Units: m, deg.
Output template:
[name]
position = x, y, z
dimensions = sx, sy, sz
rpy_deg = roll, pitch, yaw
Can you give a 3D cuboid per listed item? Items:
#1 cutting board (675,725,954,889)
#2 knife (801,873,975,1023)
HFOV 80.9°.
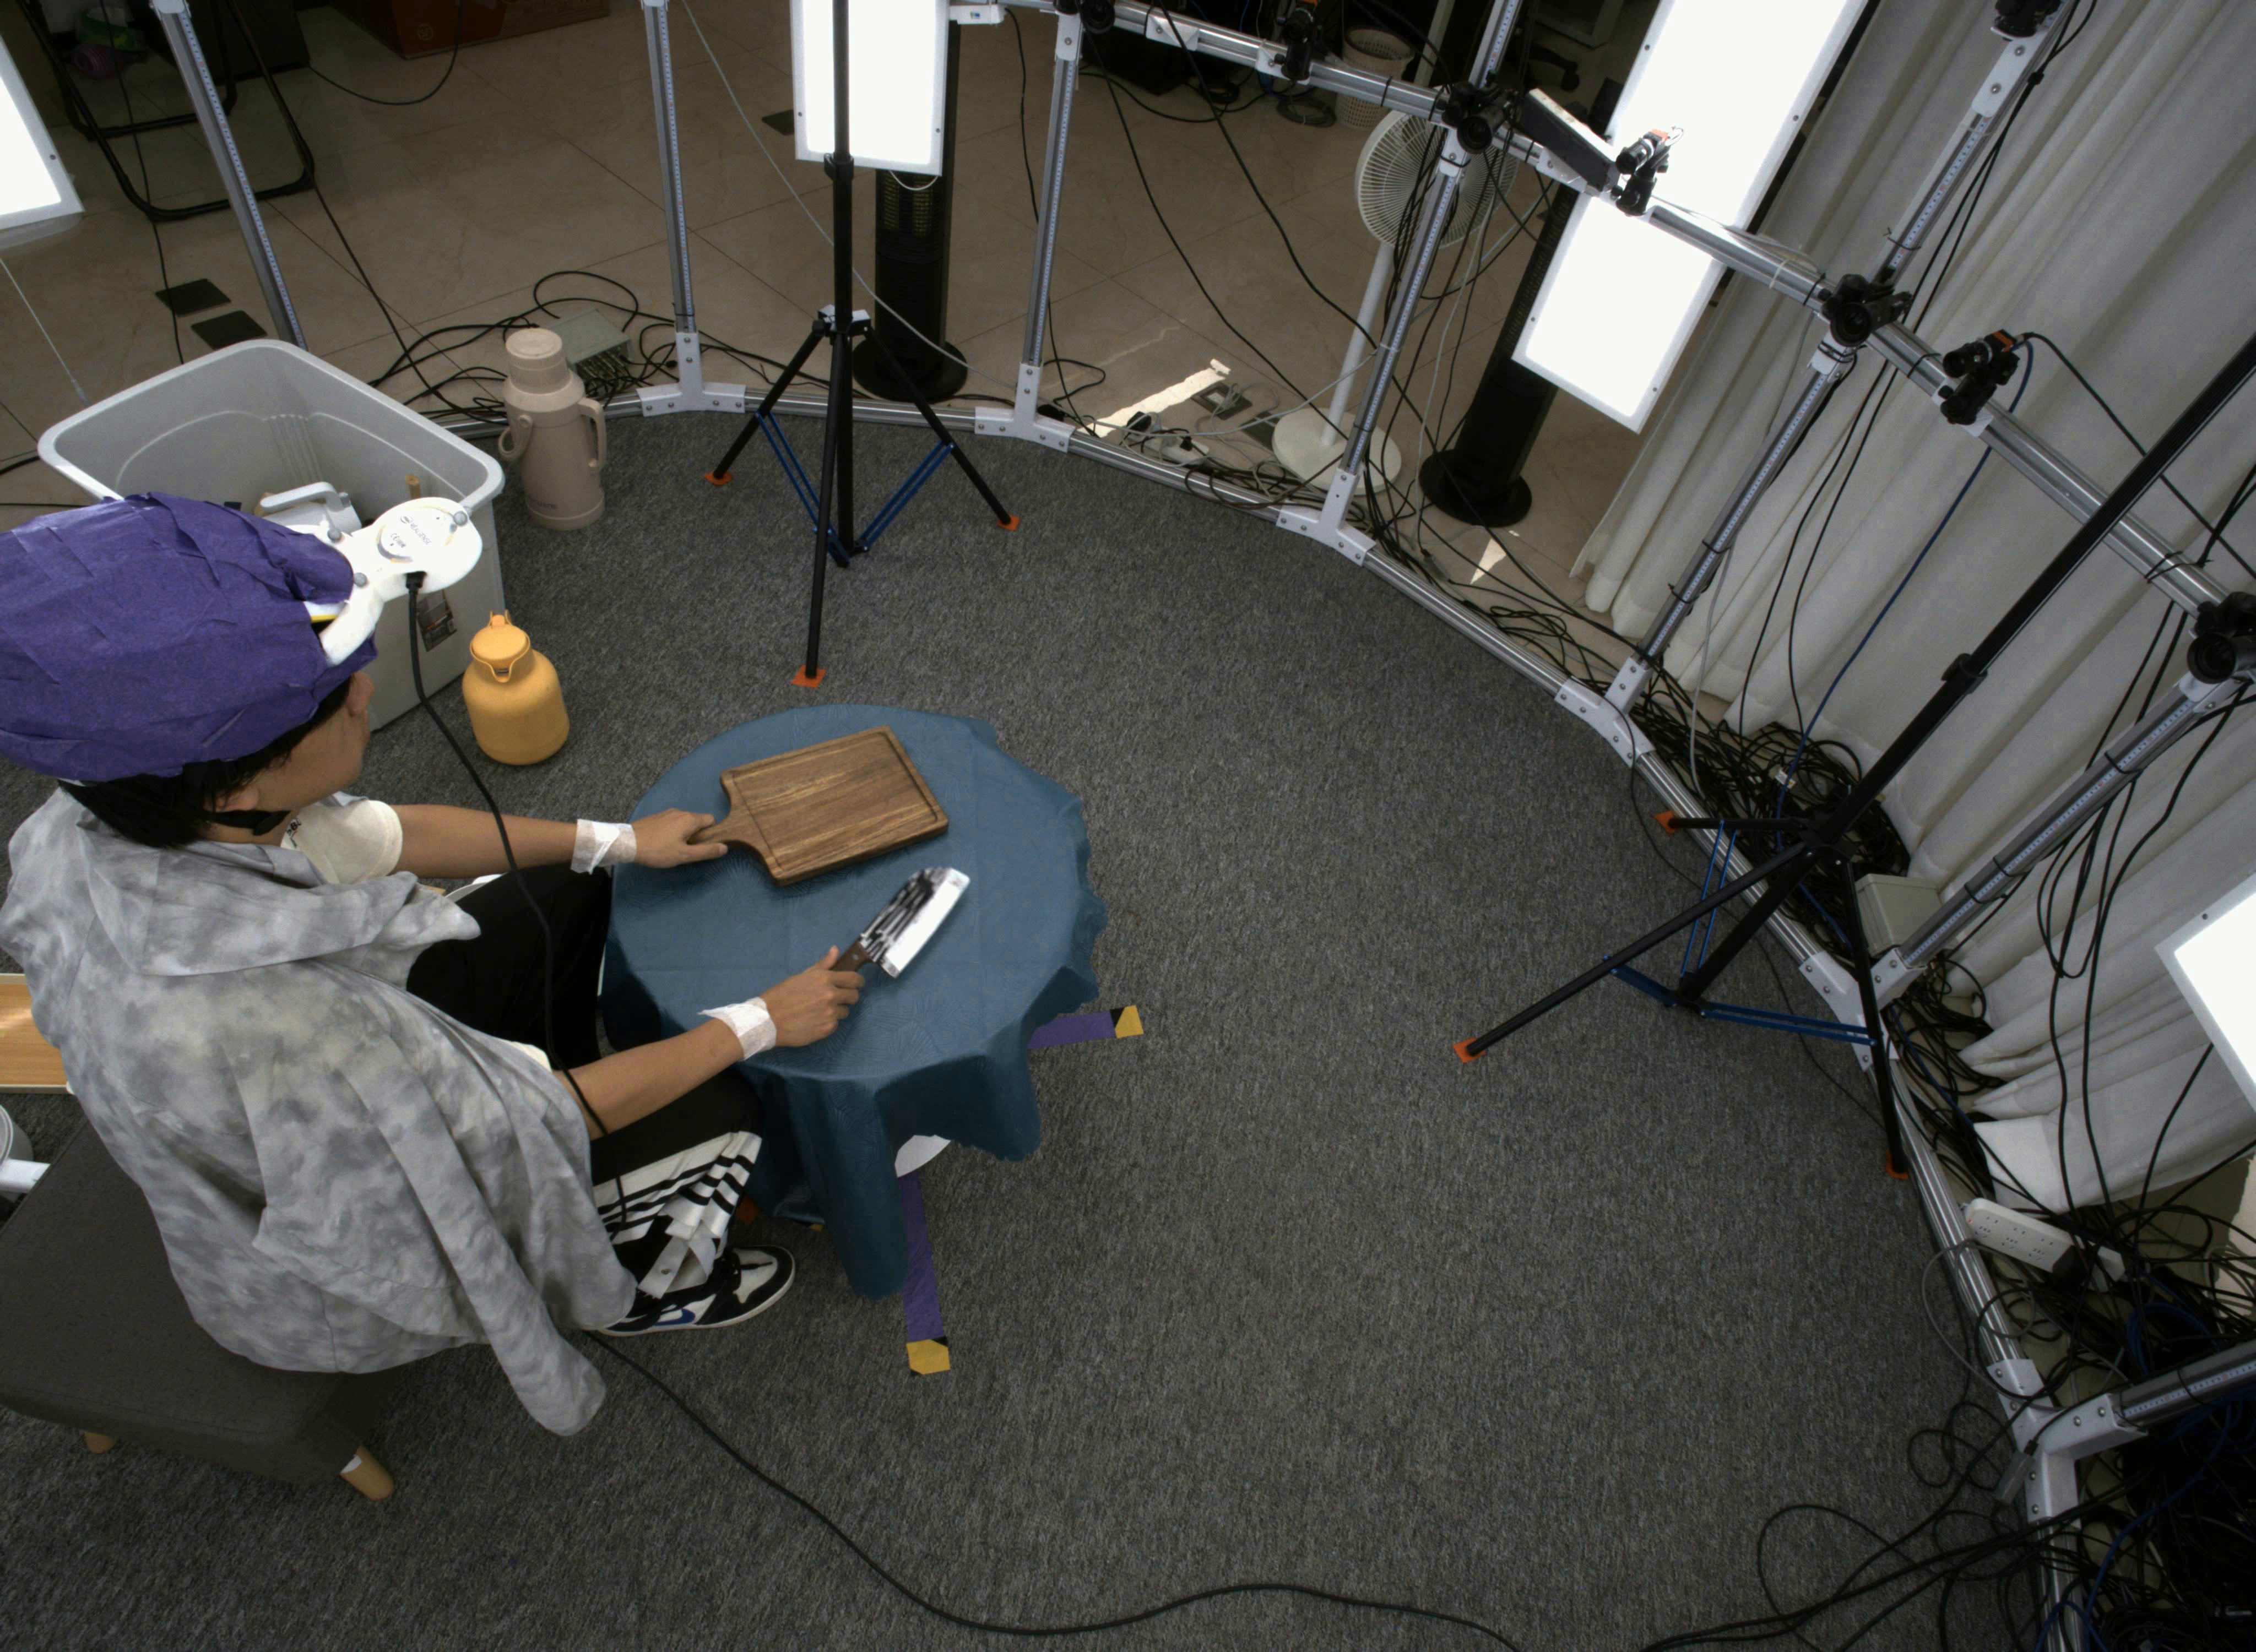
[cutting board]
position = -0.427, -0.018, 1.712
dimensions = 0.354, 0.023, 0.196
rpy_deg = -20, 61, -30
[knife]
position = -0.288, 0.148, 1.602
dimensions = 0.069, 0.023, 0.298
rpy_deg = 48, 51, -11
